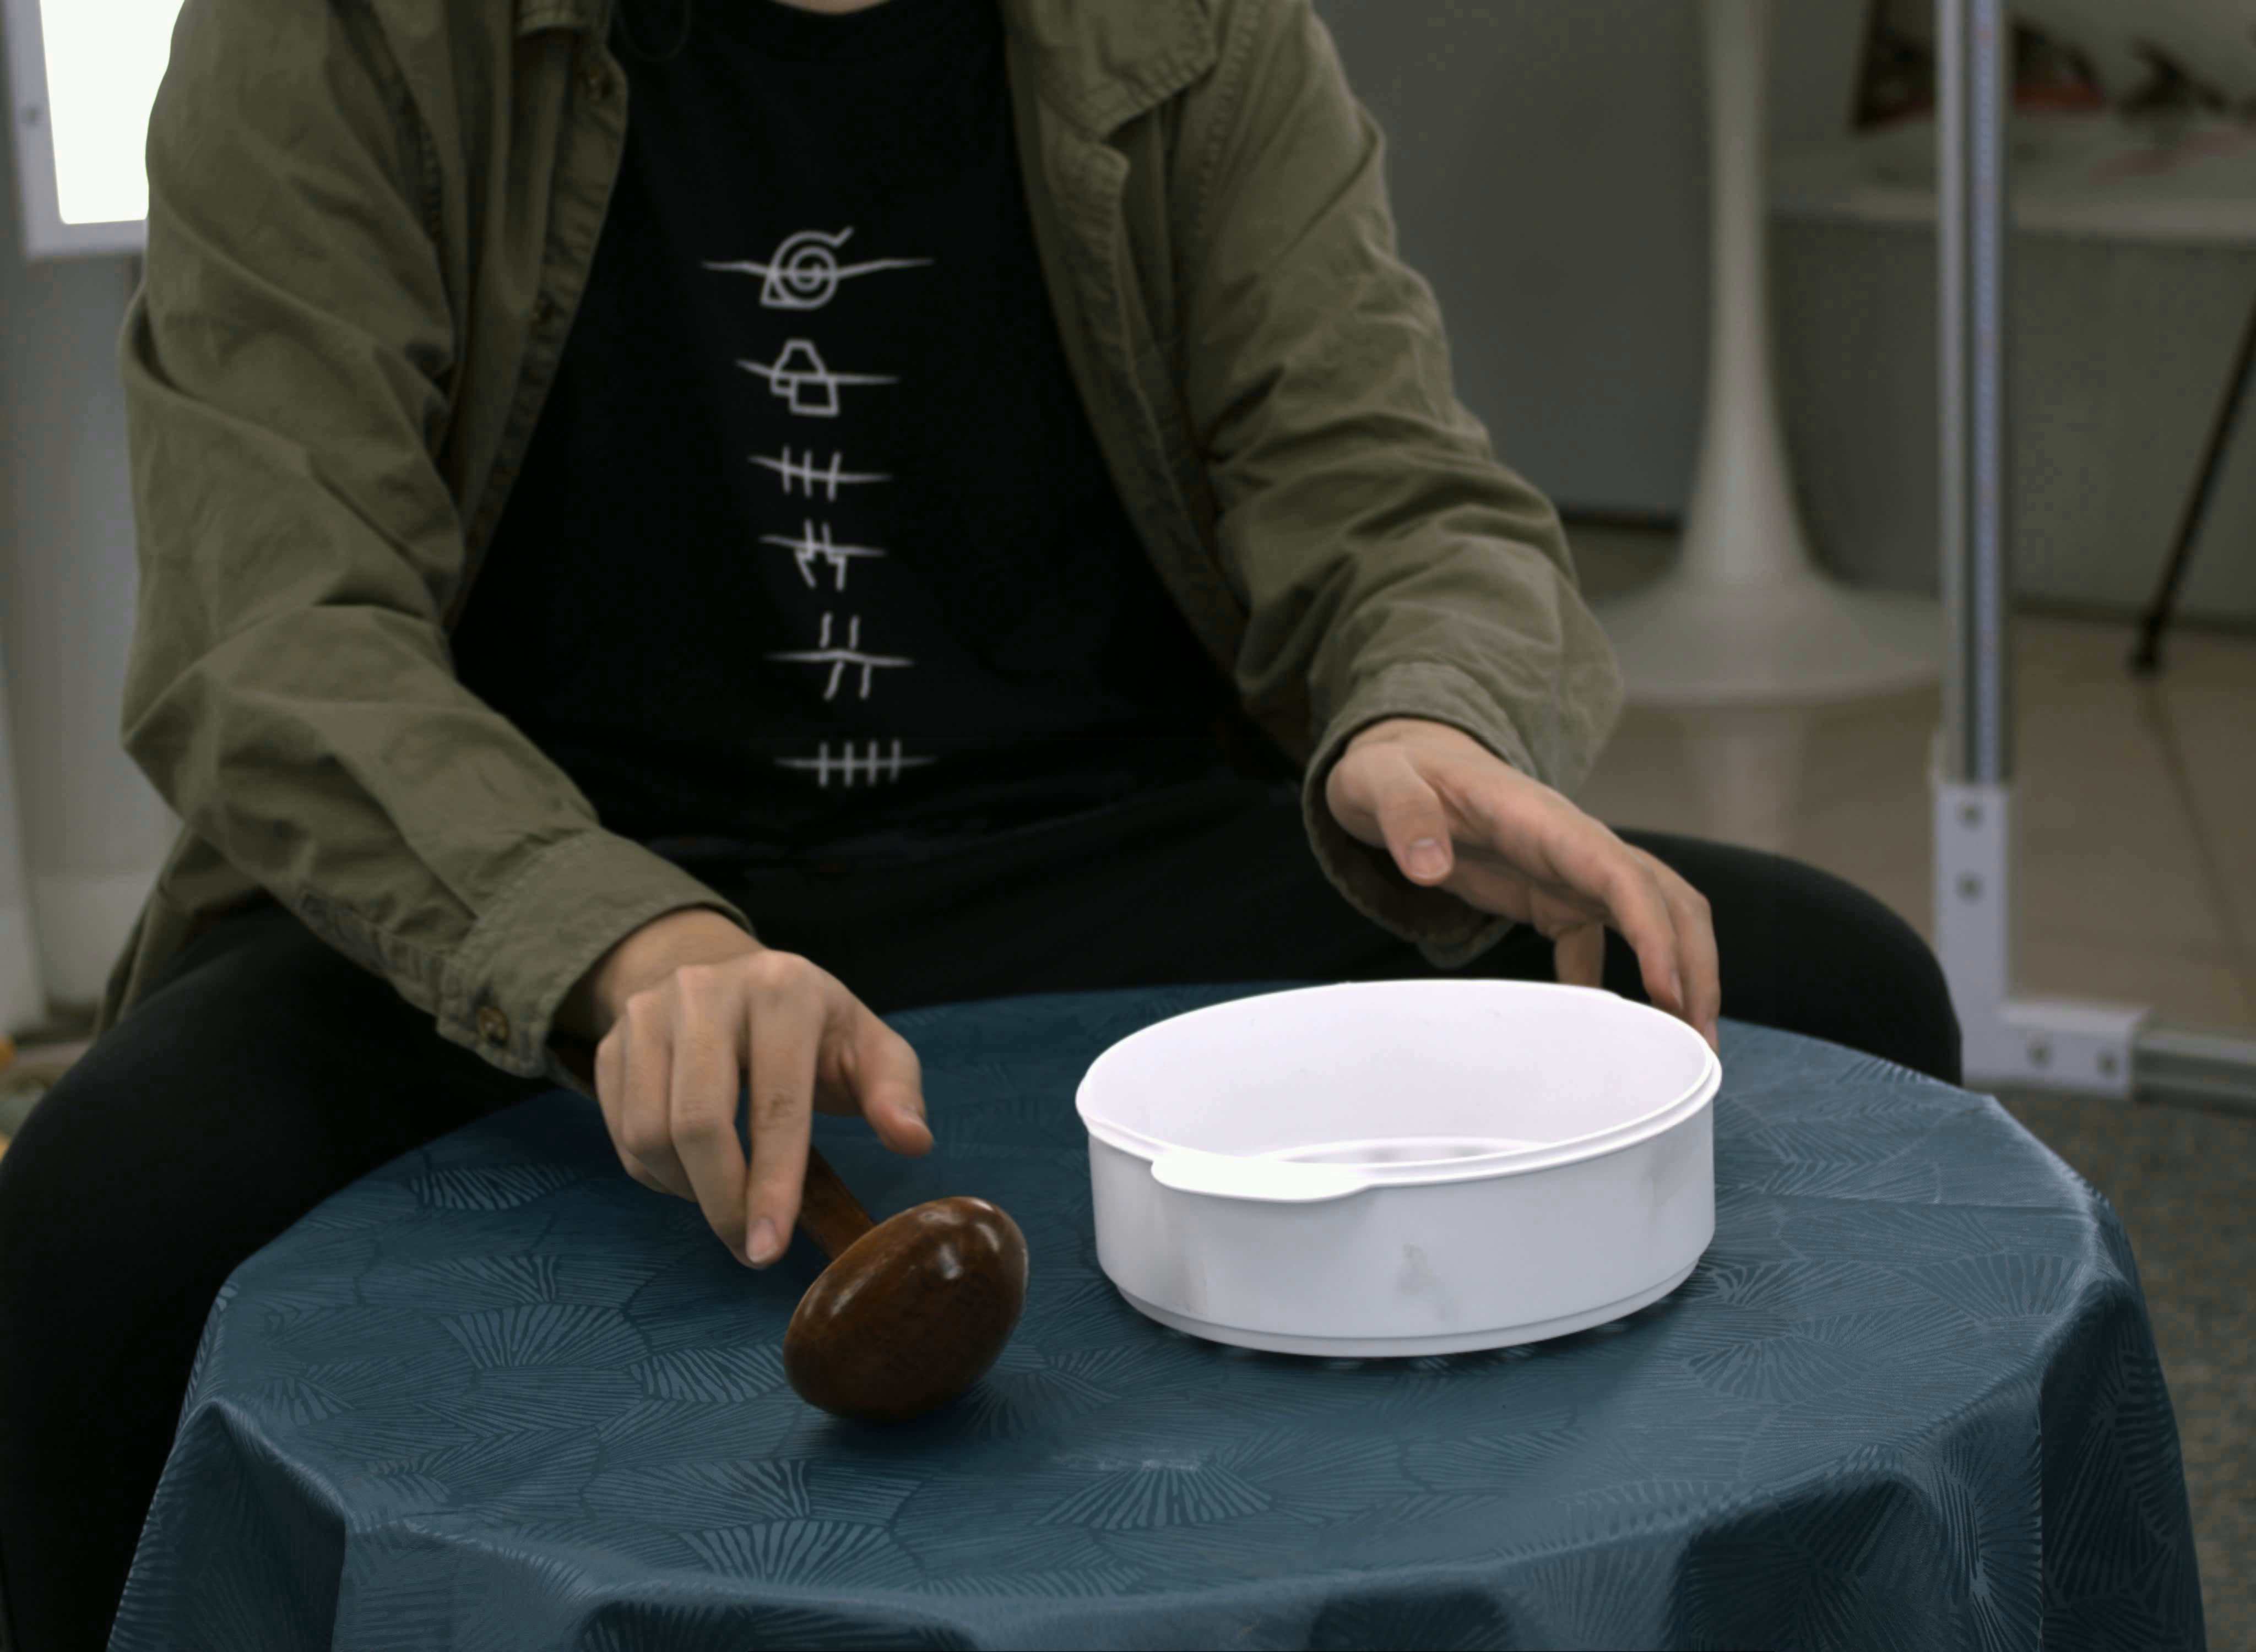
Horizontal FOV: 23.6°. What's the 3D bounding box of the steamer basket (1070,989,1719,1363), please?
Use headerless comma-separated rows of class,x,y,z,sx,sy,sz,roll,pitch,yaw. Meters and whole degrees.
steamer basket,0.083,0.108,1.660,0.202,0.070,0.227,4,15,29

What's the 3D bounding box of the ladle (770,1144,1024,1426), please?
ladle,-0.092,0.119,1.657,0.081,0.076,0.276,-33,18,-6
